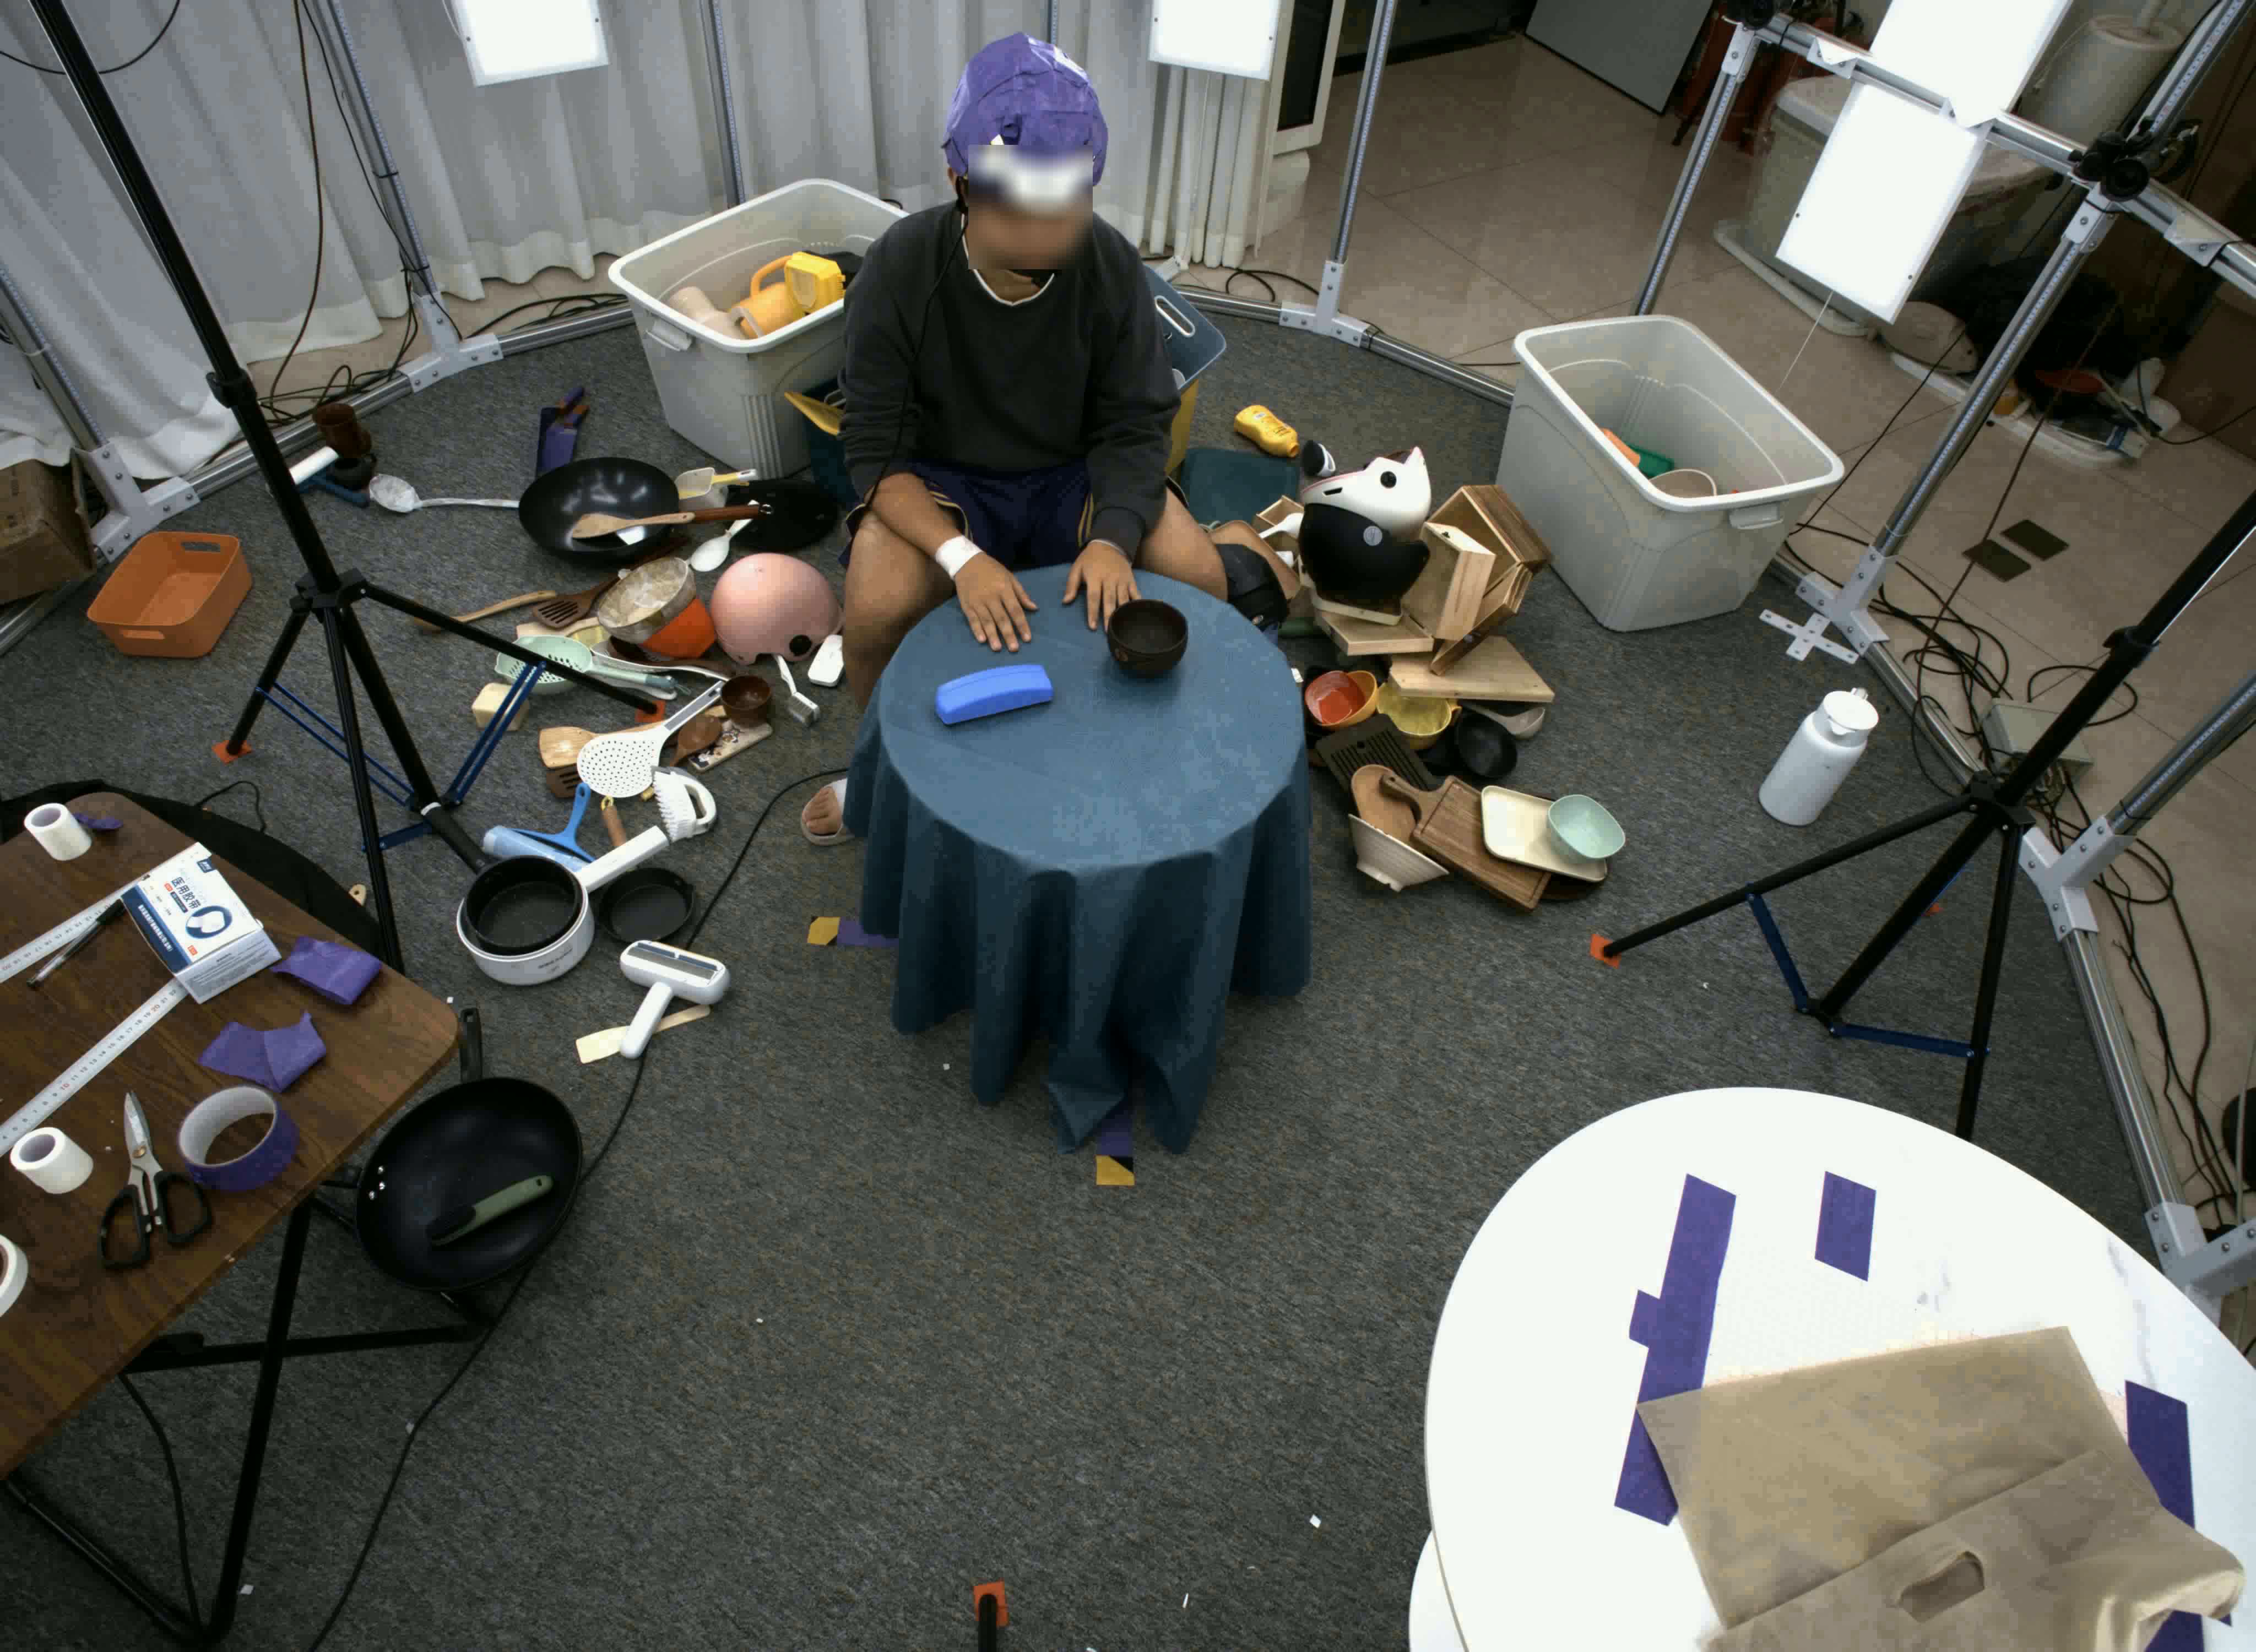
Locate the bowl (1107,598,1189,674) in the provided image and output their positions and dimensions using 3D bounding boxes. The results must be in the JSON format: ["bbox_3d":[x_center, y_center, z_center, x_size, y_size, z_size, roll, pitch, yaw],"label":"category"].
[{"bbox_3d":[0.028,-0.266,1.851,0.118,0.068,0.121,1,48,-2],"label":"bowl"}]

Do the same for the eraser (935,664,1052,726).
[{"bbox_3d":[-0.186,-0.187,1.786,0.162,0.046,0.055,-16,54,-17],"label":"eraser"}]
